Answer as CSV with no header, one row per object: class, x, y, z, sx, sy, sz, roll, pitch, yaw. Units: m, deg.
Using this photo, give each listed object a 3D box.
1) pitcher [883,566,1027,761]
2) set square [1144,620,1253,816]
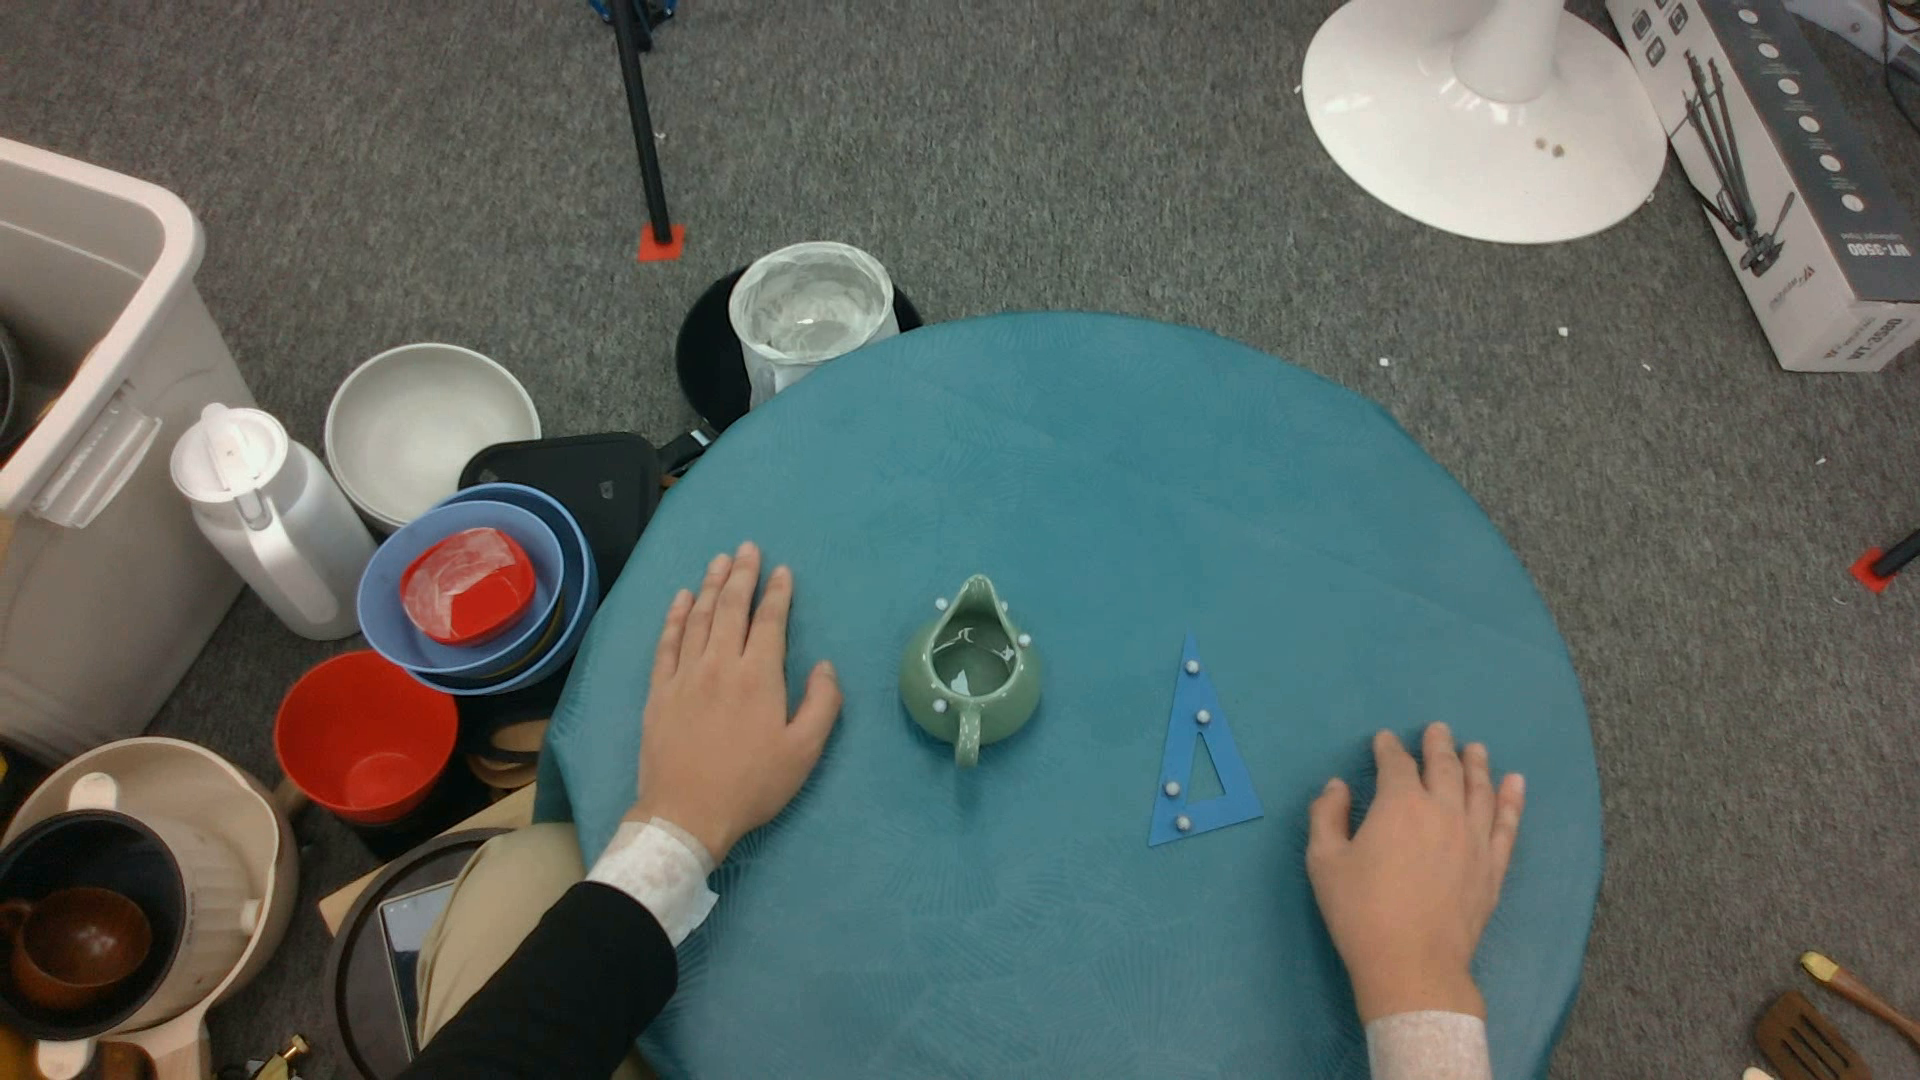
pitcher,-0.003,0.076,0.788,0.084,0.056,0.113,2,61,0
set square,0.150,0.109,0.811,0.061,0.006,0.132,16,61,6
